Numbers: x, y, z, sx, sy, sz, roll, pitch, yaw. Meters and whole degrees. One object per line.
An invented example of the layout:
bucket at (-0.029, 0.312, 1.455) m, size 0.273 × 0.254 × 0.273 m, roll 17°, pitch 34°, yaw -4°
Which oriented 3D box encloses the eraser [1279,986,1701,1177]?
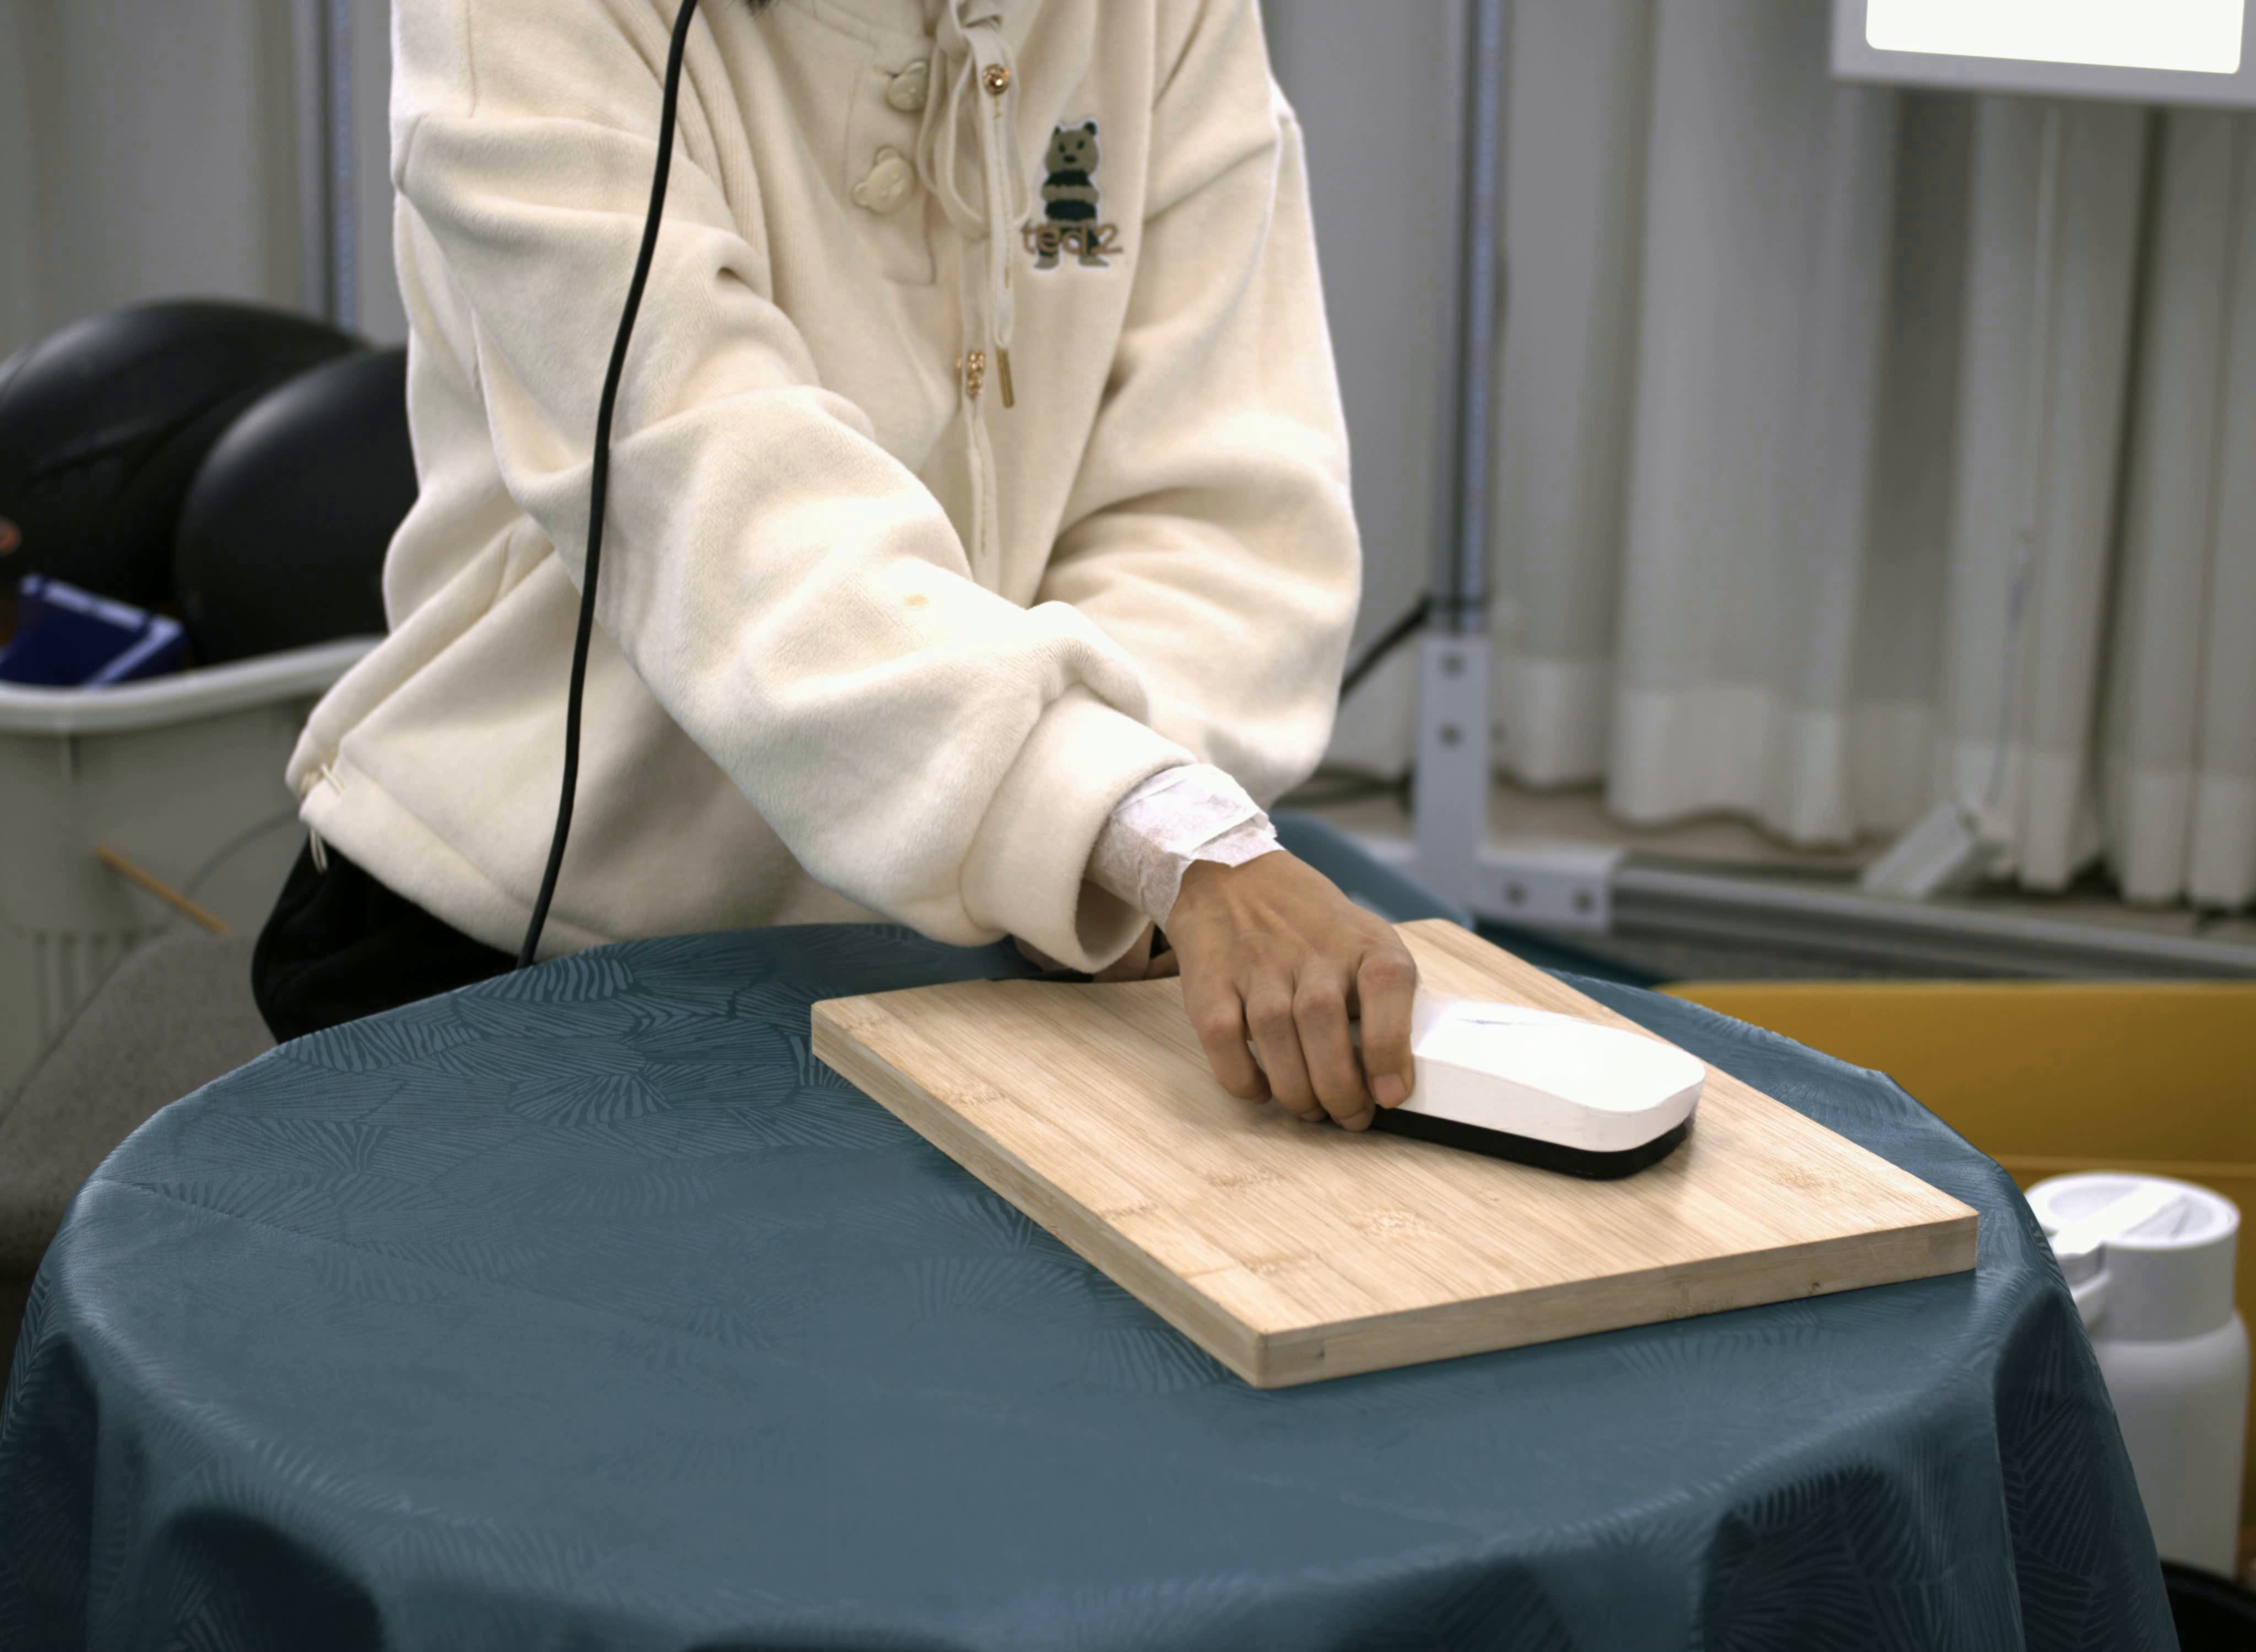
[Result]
eraser at (0.112, 0.077, 1.628) m, size 0.129 × 0.035 × 0.063 m, roll 13°, pitch 20°, yaw 36°

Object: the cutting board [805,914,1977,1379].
cutting board at (0.072, 0.094, 1.659) m, size 0.251 × 0.024 × 0.344 m, roll -7°, pitch 17°, yaw -25°
